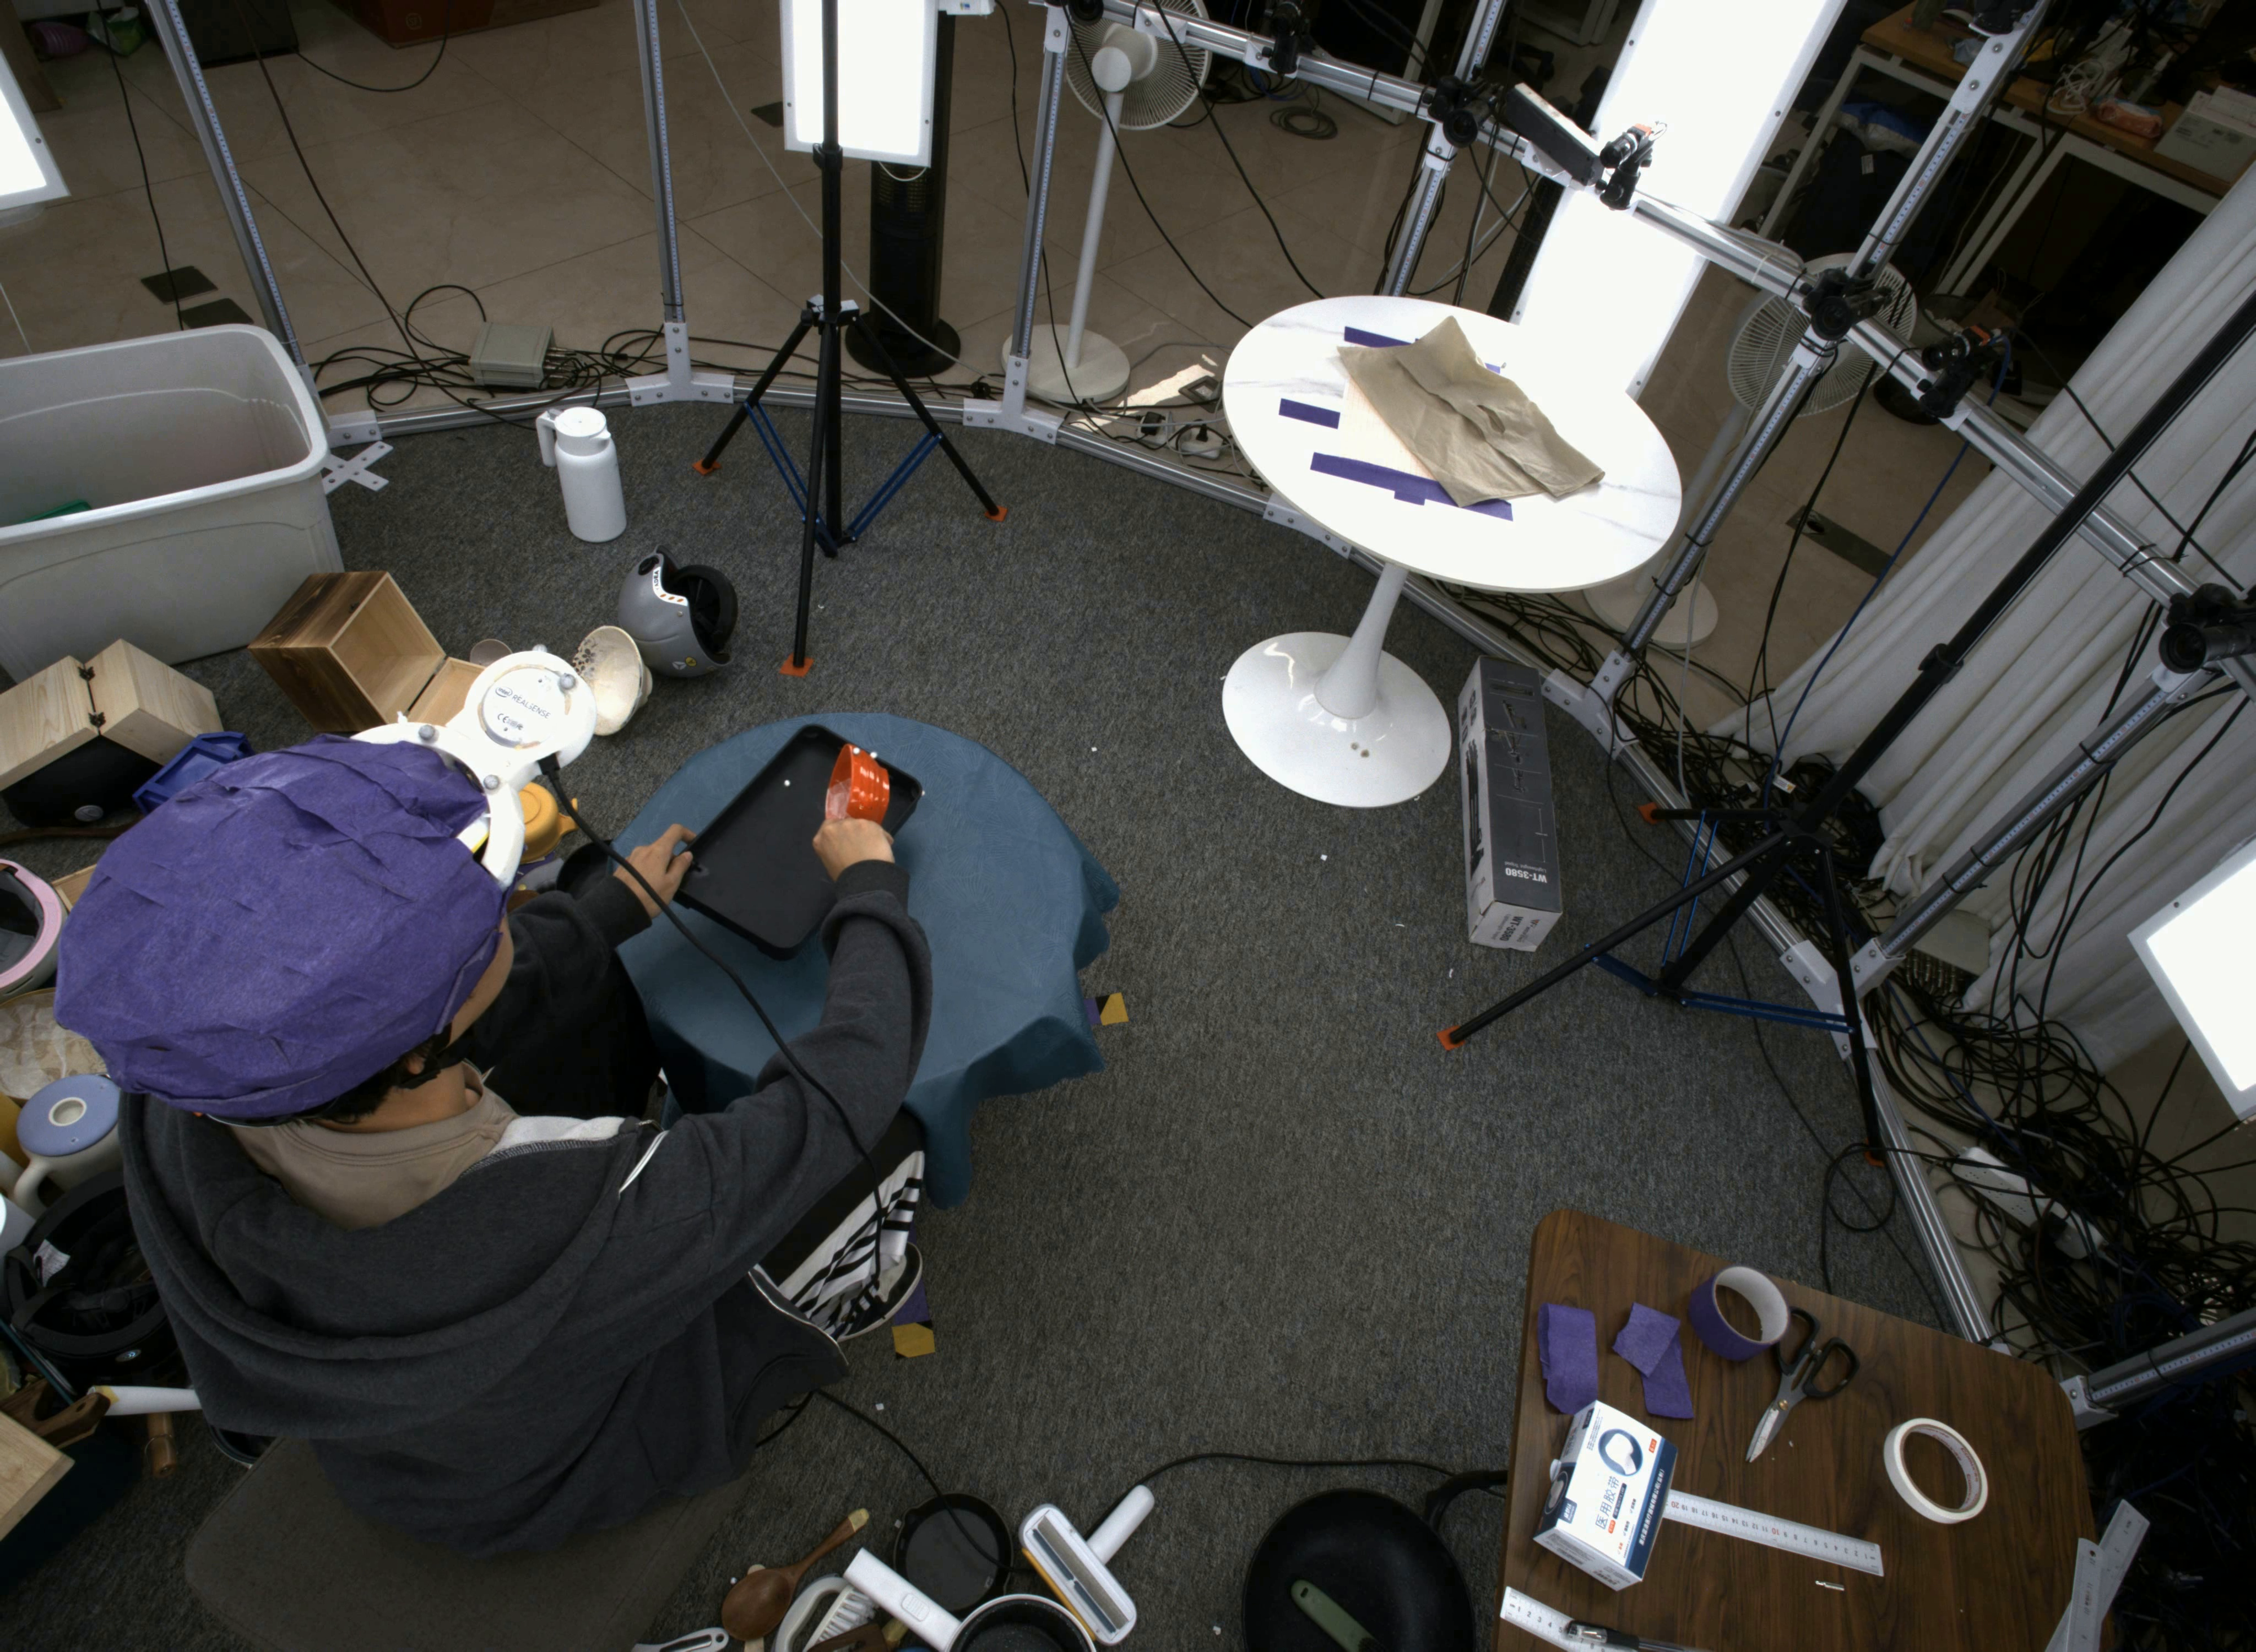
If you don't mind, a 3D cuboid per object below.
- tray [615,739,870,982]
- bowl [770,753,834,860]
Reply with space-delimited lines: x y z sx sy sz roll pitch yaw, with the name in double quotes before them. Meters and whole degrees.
"tray" -0.462 0.033 1.572 0.183 0.037 0.315 27 47 0
"bowl" -0.366 -0.019 1.461 0.052 0.120 0.116 8 49 -27
